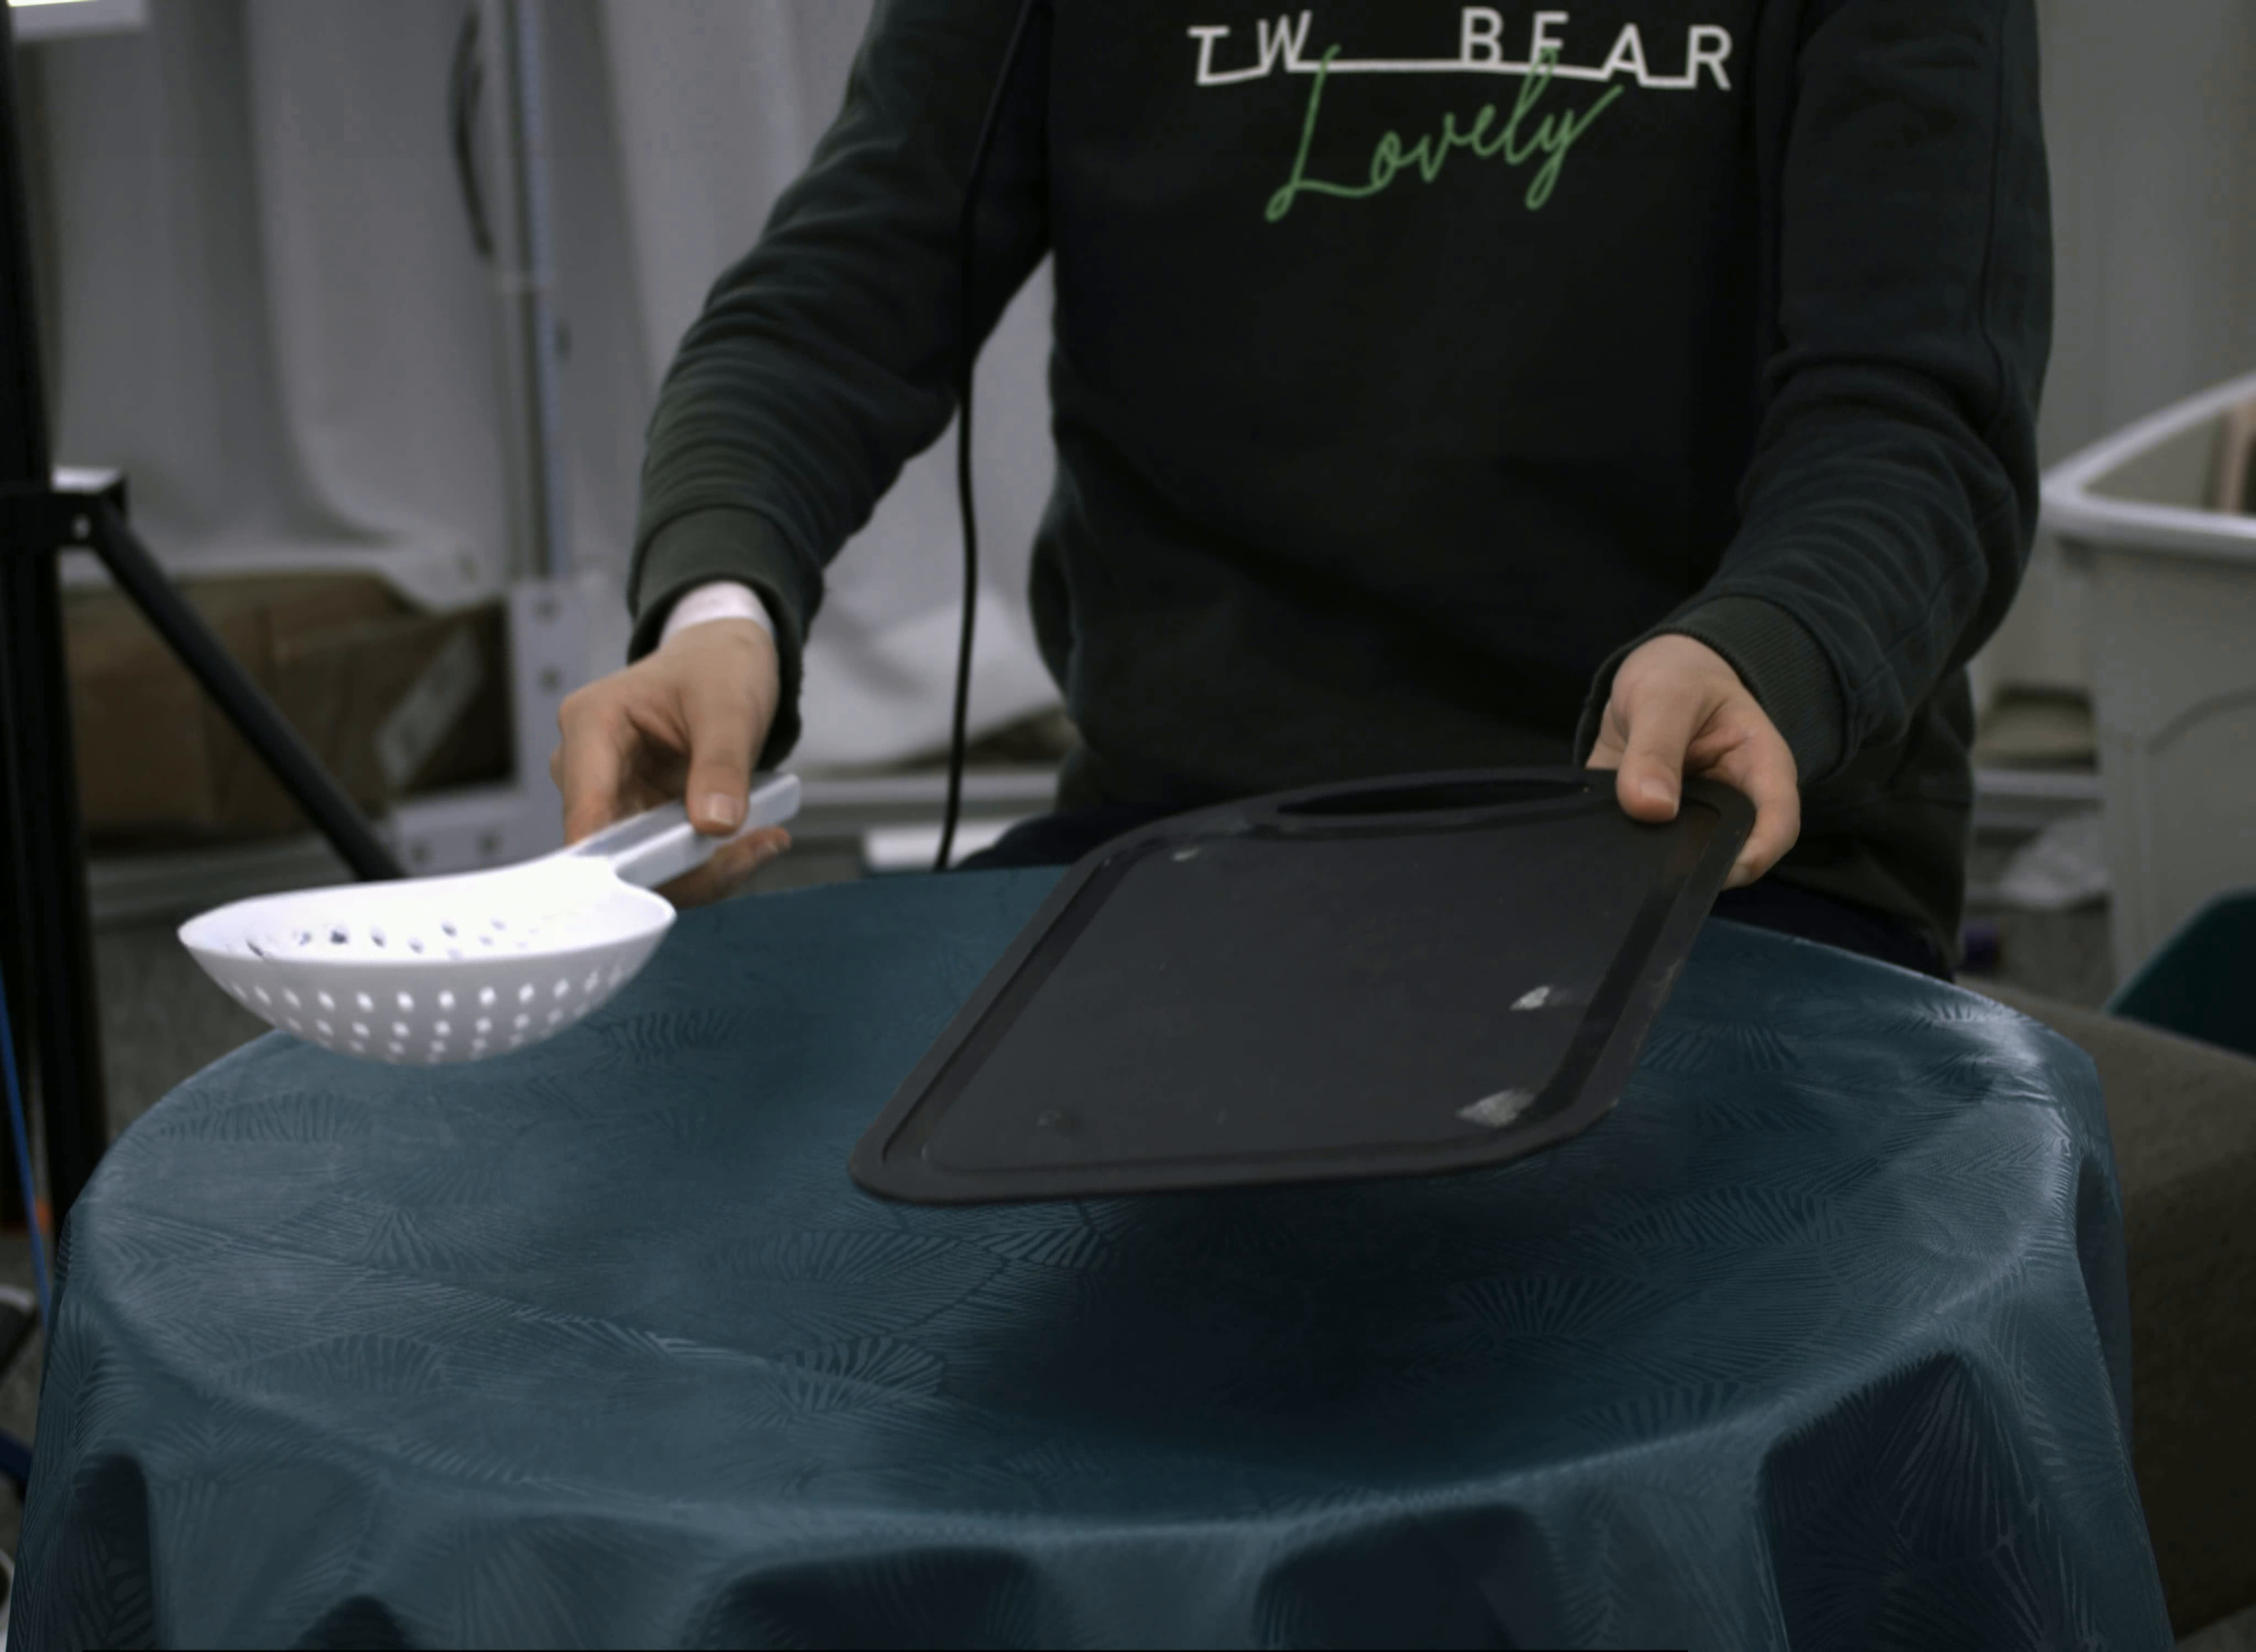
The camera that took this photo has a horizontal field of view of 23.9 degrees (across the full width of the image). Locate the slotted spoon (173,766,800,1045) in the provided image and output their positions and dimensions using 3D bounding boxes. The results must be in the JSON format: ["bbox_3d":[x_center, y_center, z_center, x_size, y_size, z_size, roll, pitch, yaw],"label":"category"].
[{"bbox_3d":[-0.166,0.013,1.573,0.137,0.046,0.346,2,13,16],"label":"slotted spoon"}]

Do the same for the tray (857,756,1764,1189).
[{"bbox_3d":[0.059,0.034,1.479,0.213,0.010,0.323,-4,18,18],"label":"tray"}]
